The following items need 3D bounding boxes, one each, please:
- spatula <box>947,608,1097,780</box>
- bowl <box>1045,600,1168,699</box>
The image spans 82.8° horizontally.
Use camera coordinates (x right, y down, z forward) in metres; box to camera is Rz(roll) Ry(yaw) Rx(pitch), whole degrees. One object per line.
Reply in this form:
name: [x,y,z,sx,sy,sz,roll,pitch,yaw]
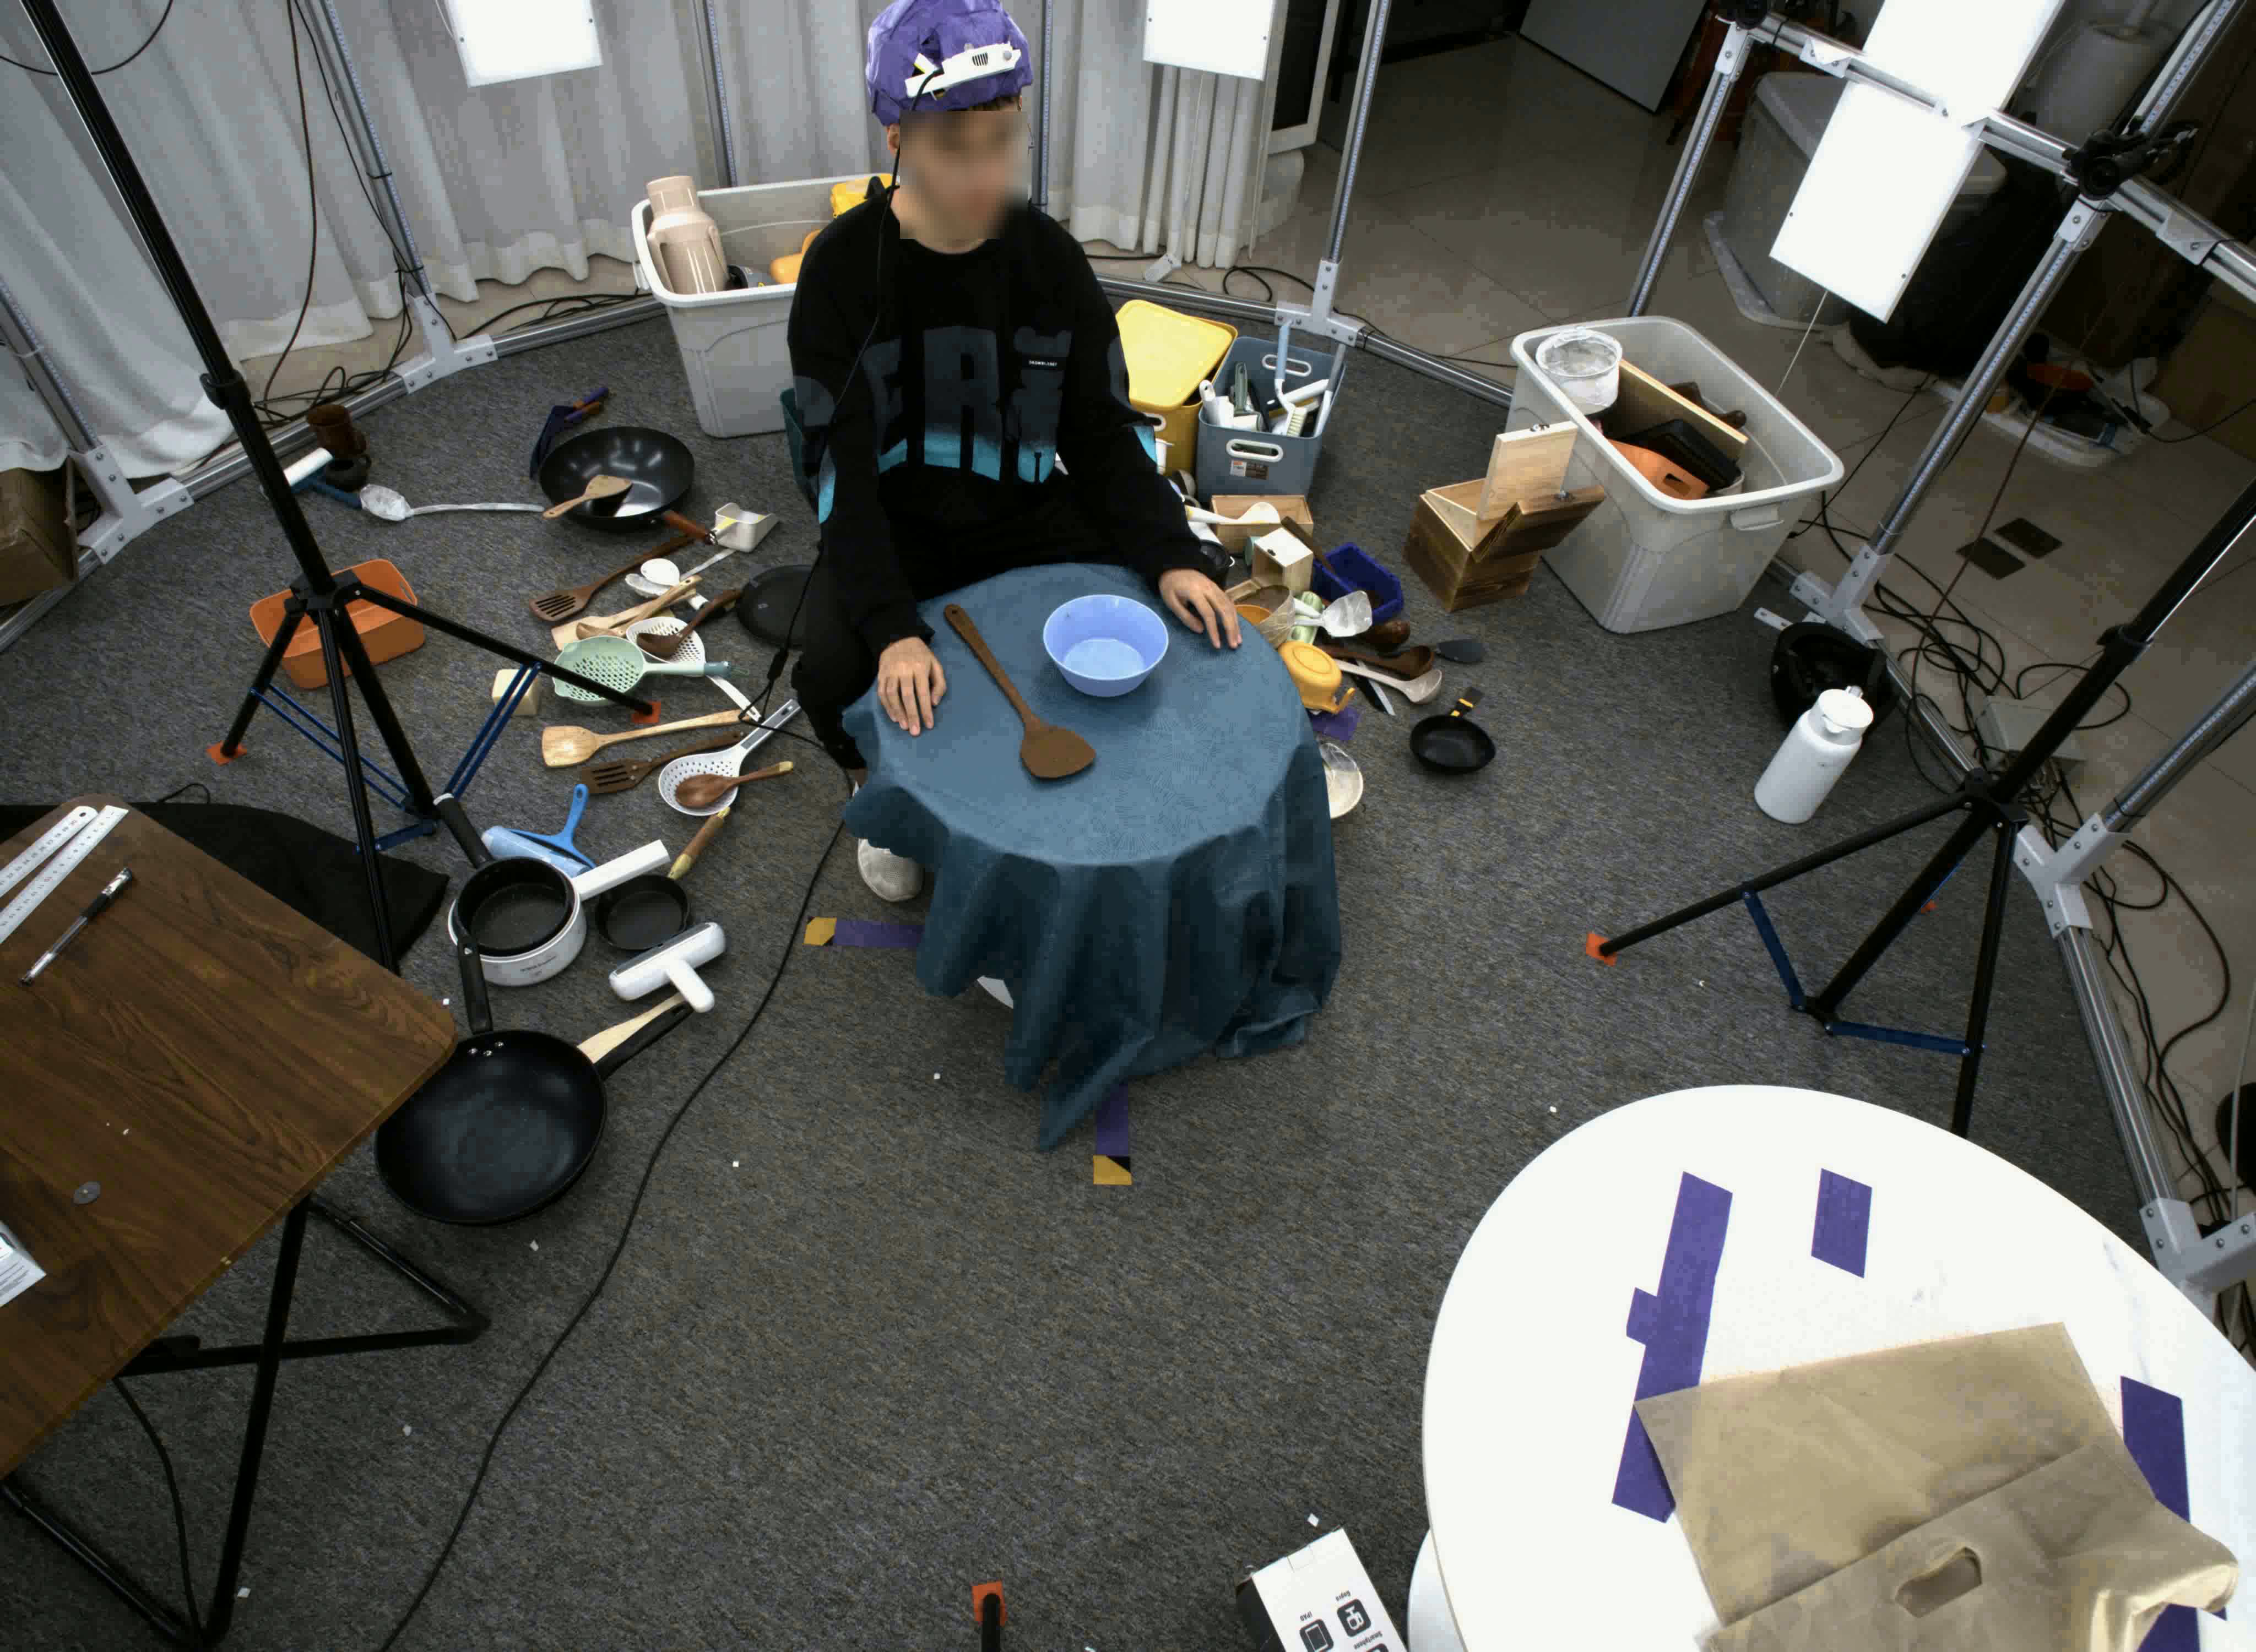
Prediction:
spatula: [-0.171,-0.199,1.838,0.096,0.015,0.394,-21,53,-21]
bowl: [-0.031,-0.246,1.852,0.176,0.068,0.180,1,47,-2]
